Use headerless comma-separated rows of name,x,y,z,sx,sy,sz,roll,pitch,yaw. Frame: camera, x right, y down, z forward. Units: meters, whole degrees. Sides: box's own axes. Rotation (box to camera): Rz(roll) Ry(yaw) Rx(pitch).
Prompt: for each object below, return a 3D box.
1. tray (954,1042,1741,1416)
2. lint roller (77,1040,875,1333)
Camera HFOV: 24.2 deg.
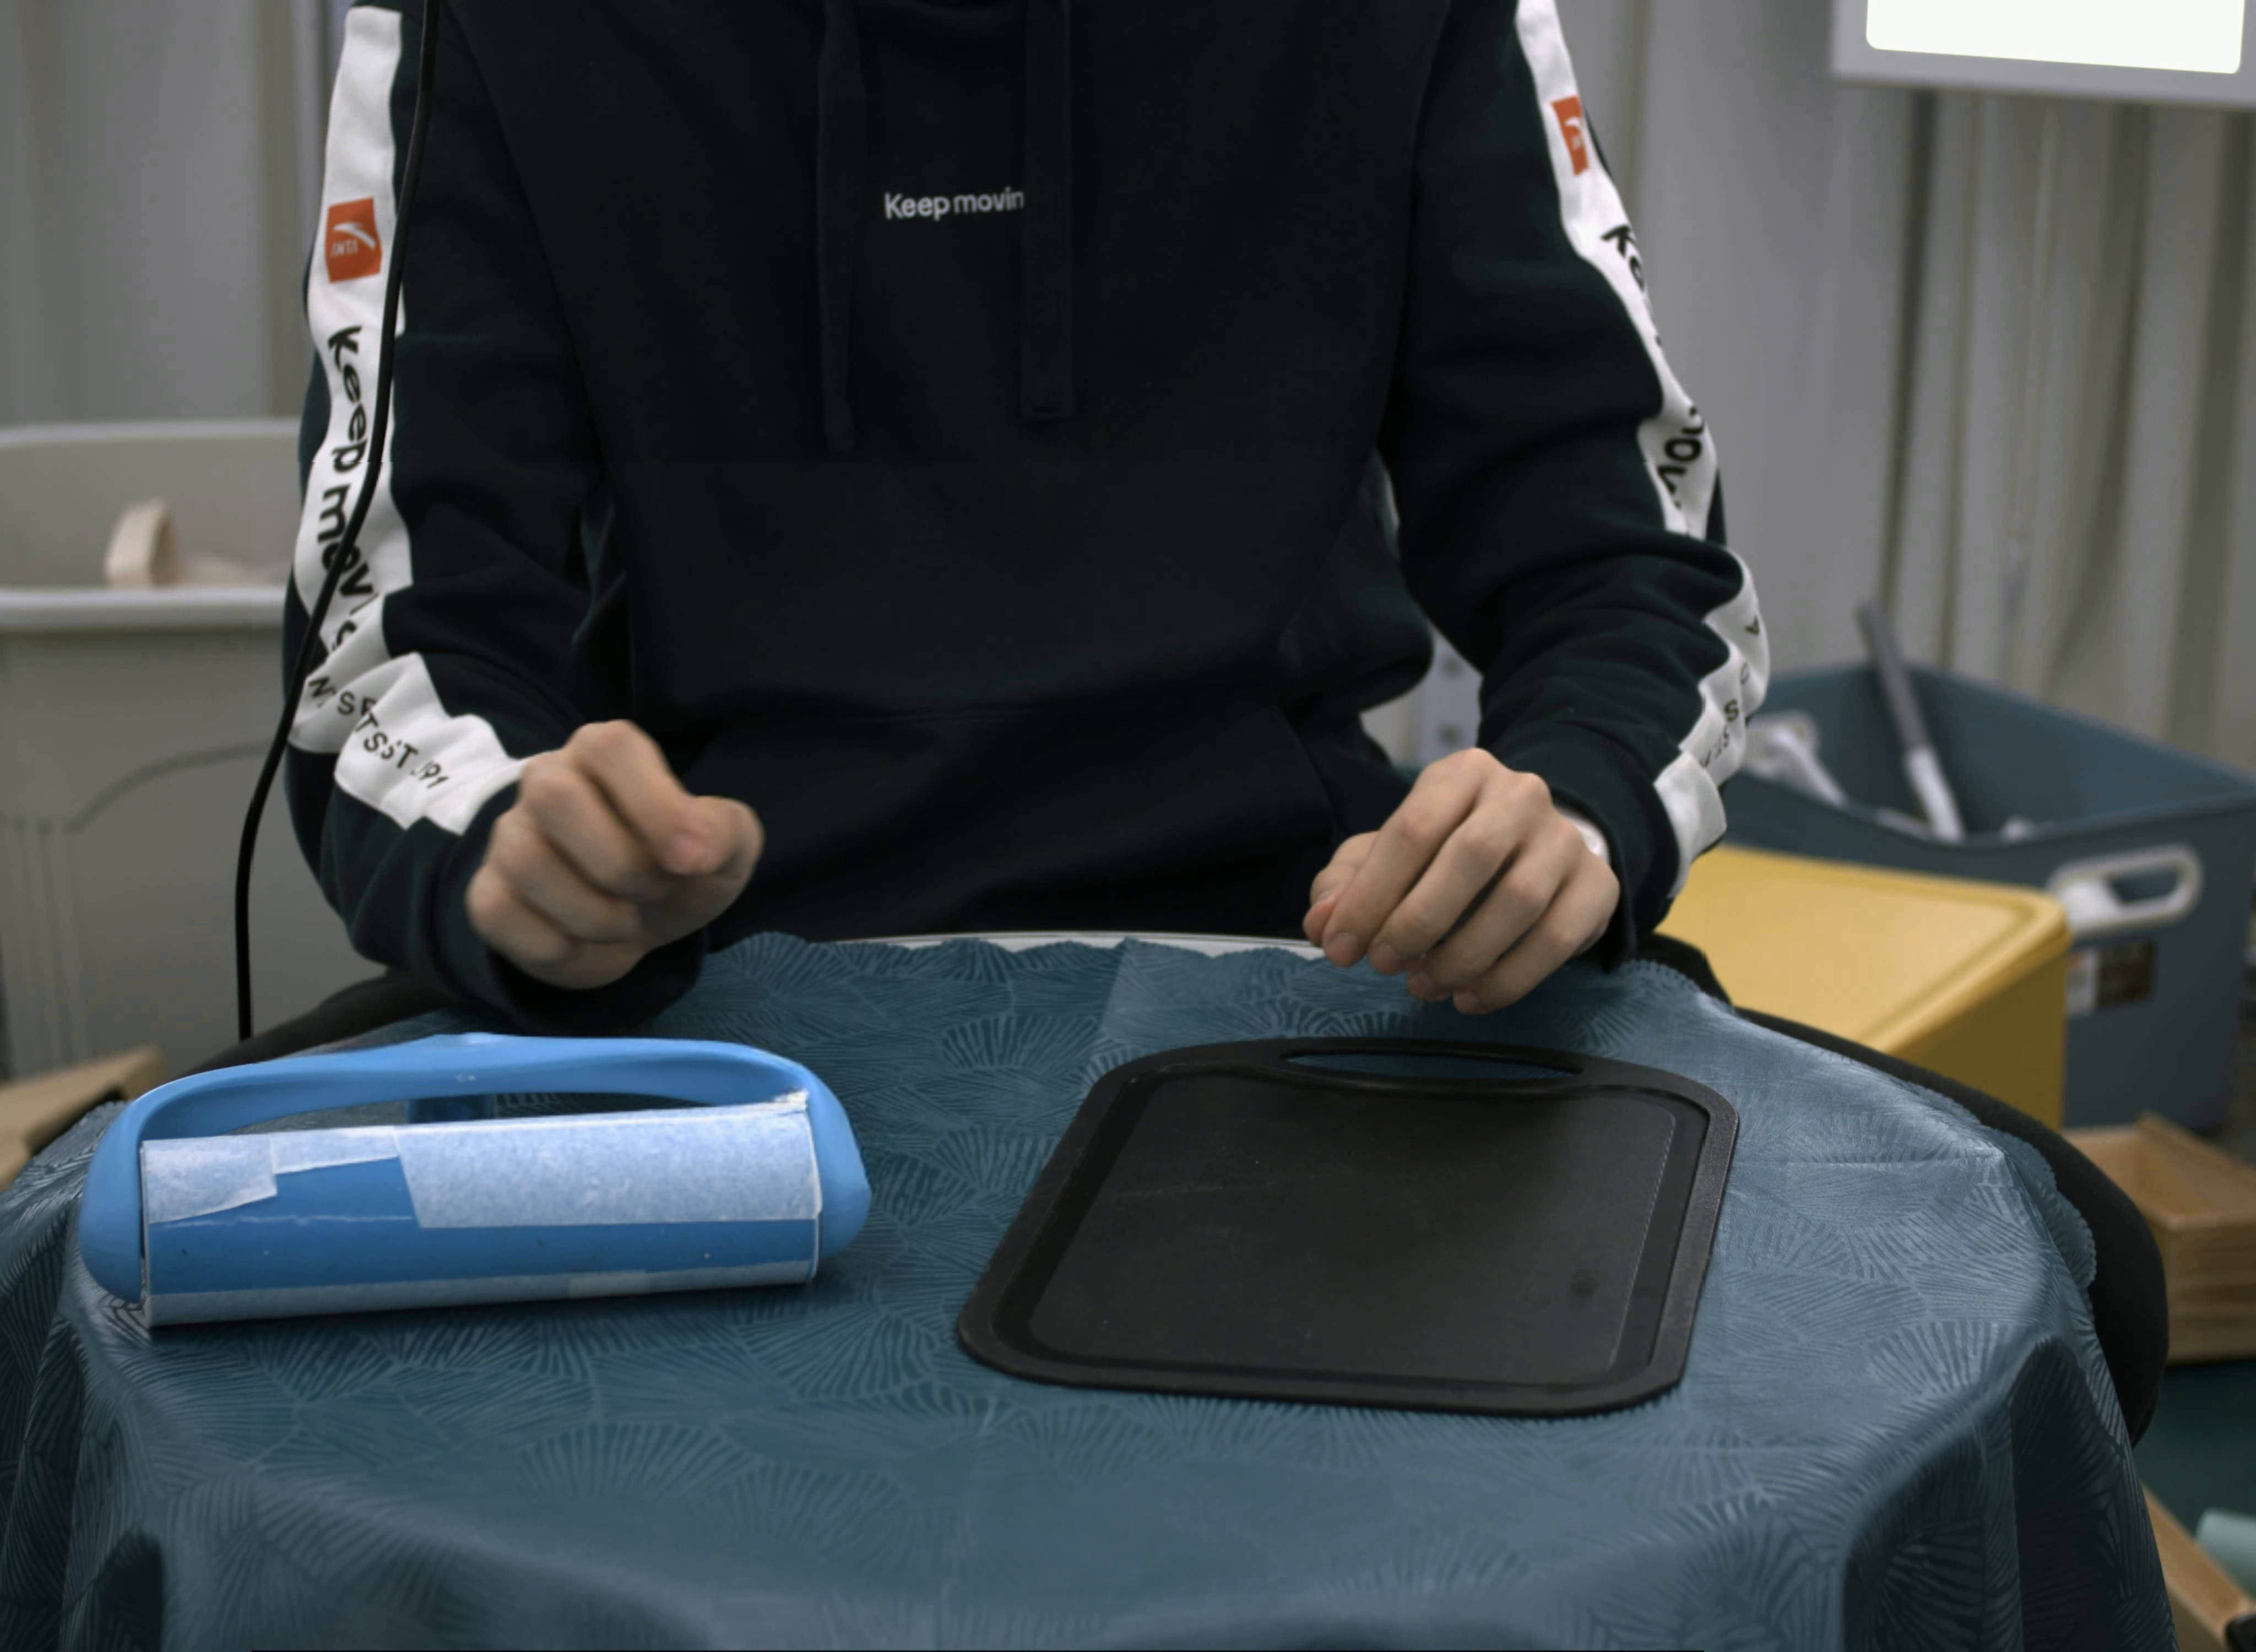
tray,0.074,0.114,1.603,0.210,0.010,0.325,3,16,10
lint roller,-0.200,0.094,1.571,0.229,0.068,0.178,-5,17,-13
